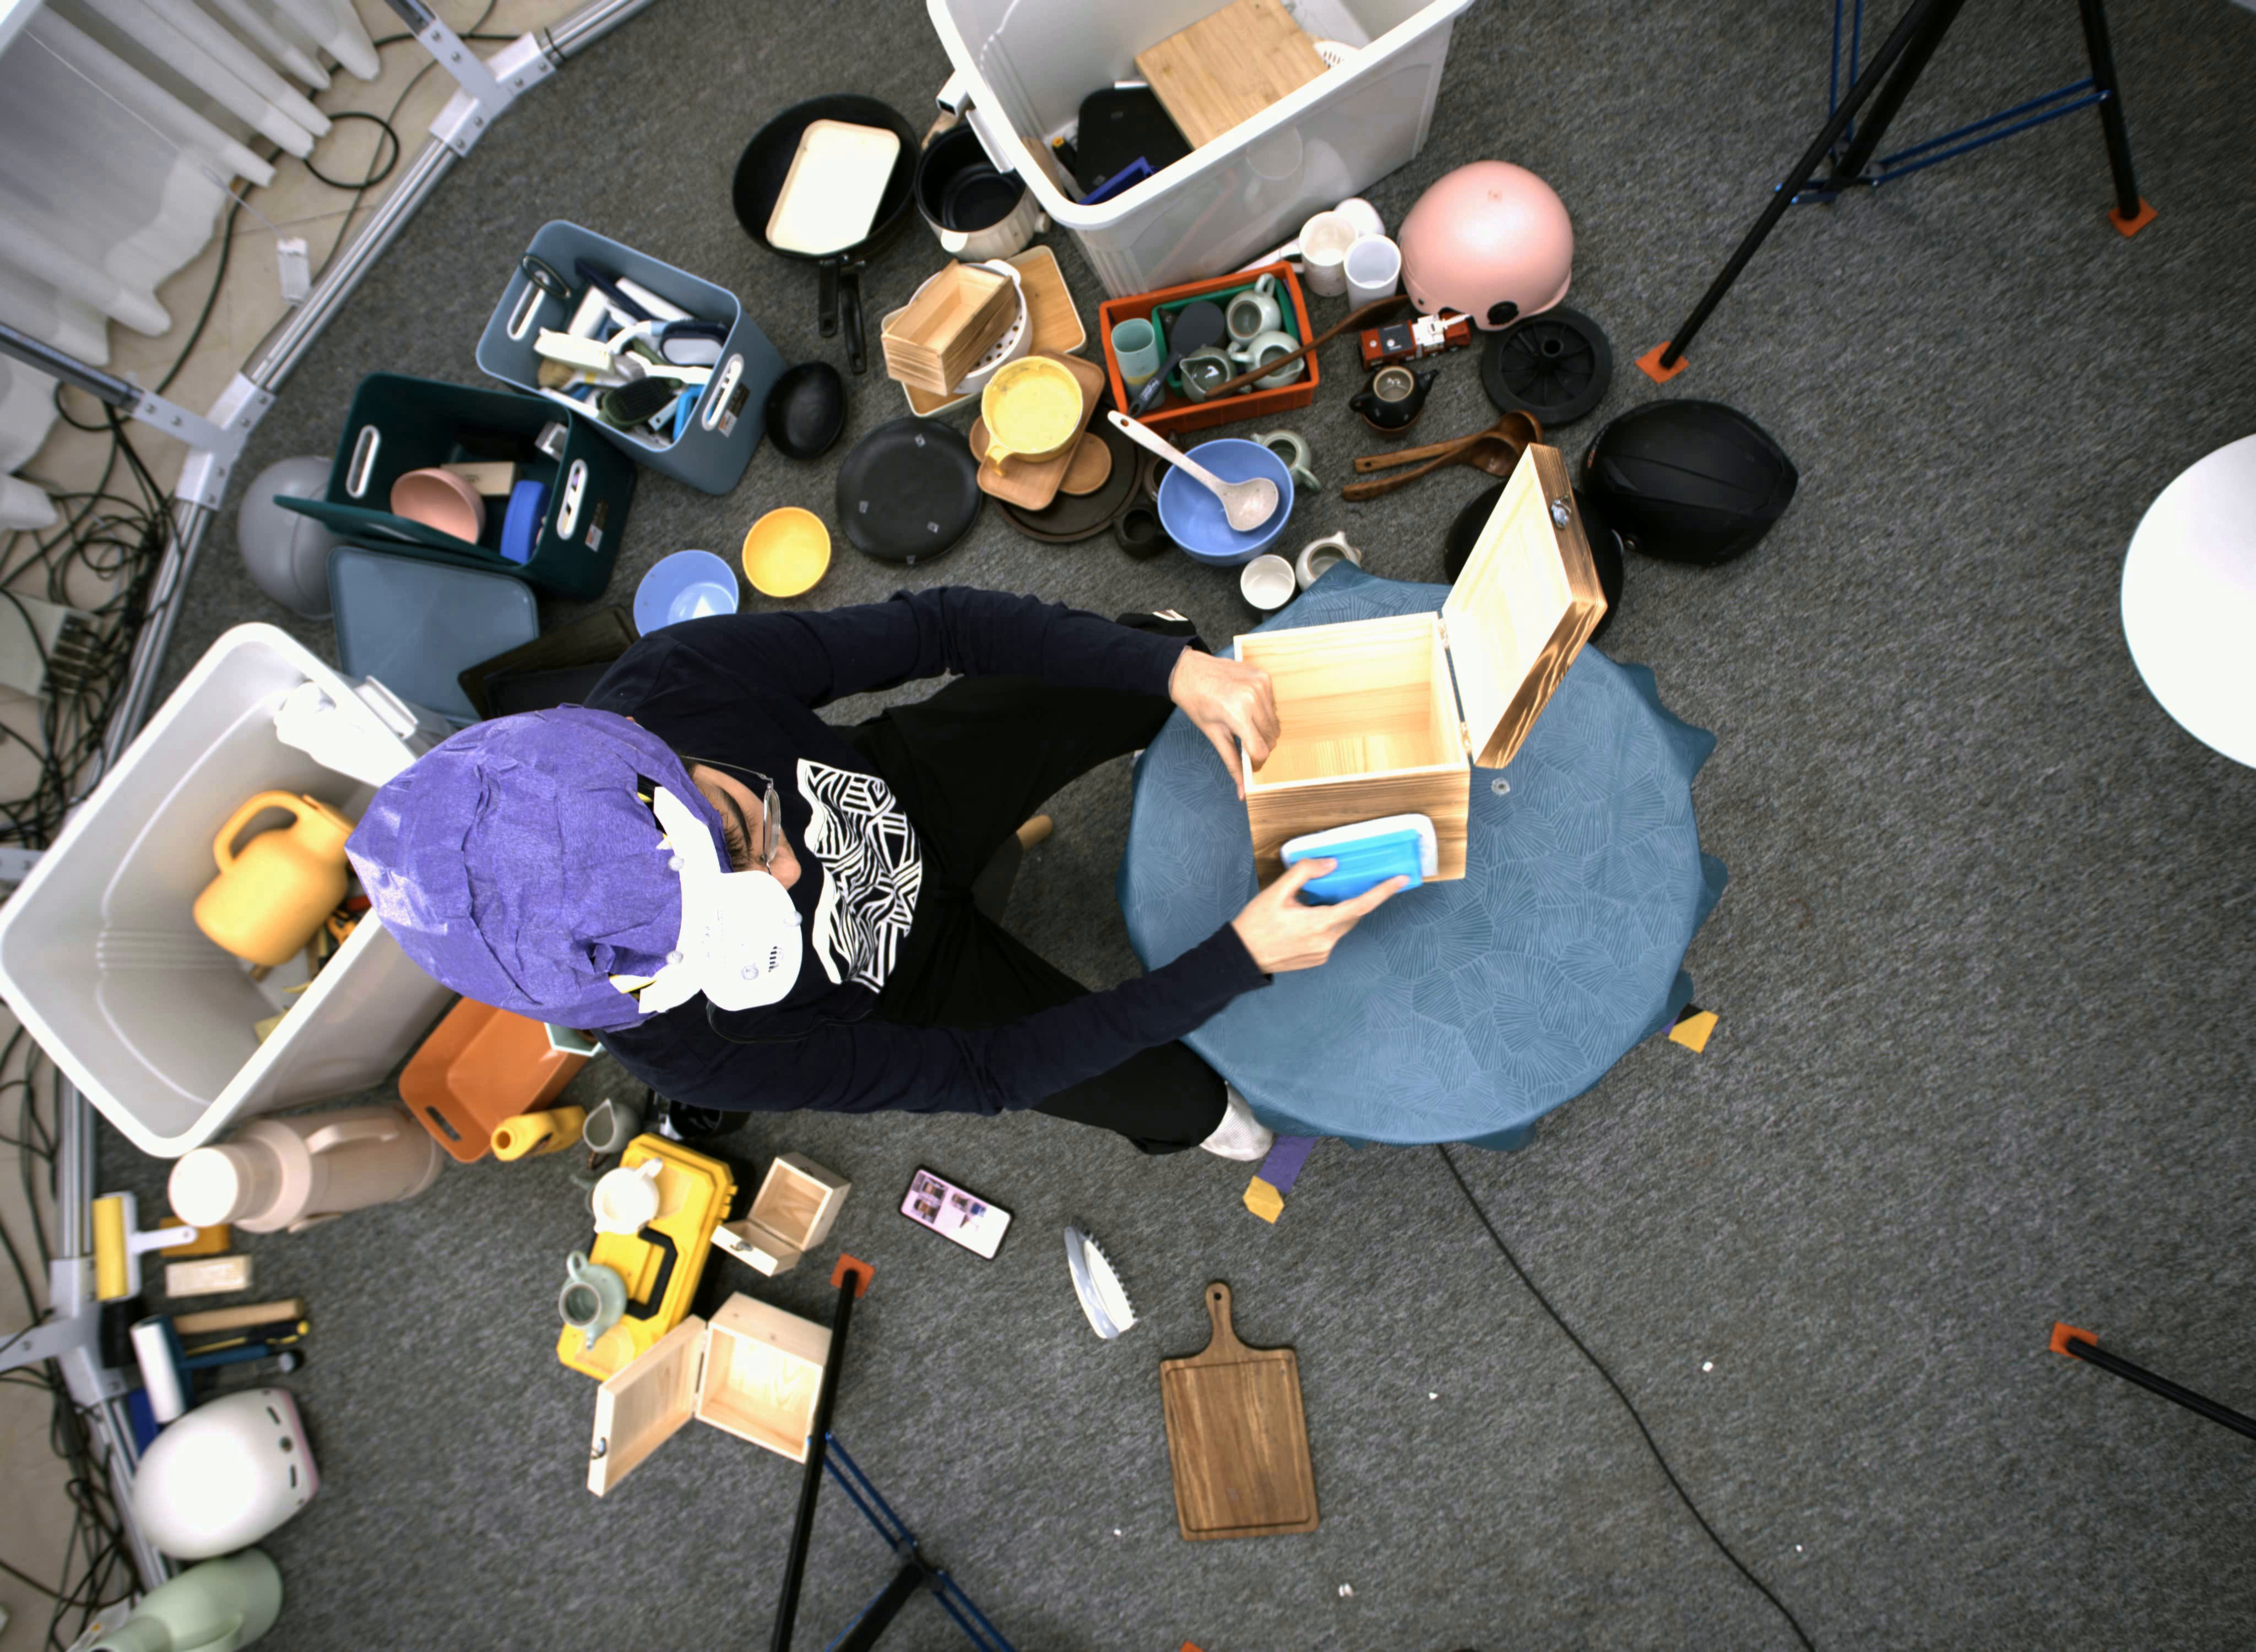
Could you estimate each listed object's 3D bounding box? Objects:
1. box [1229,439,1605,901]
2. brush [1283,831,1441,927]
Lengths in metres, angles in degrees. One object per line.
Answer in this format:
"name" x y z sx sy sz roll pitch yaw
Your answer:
"box" 0.249 -0.133 1.264 0.323 0.383 0.203 -6 53 8
"brush" 0.220 0.055 1.289 0.145 0.085 0.054 -16 47 13
